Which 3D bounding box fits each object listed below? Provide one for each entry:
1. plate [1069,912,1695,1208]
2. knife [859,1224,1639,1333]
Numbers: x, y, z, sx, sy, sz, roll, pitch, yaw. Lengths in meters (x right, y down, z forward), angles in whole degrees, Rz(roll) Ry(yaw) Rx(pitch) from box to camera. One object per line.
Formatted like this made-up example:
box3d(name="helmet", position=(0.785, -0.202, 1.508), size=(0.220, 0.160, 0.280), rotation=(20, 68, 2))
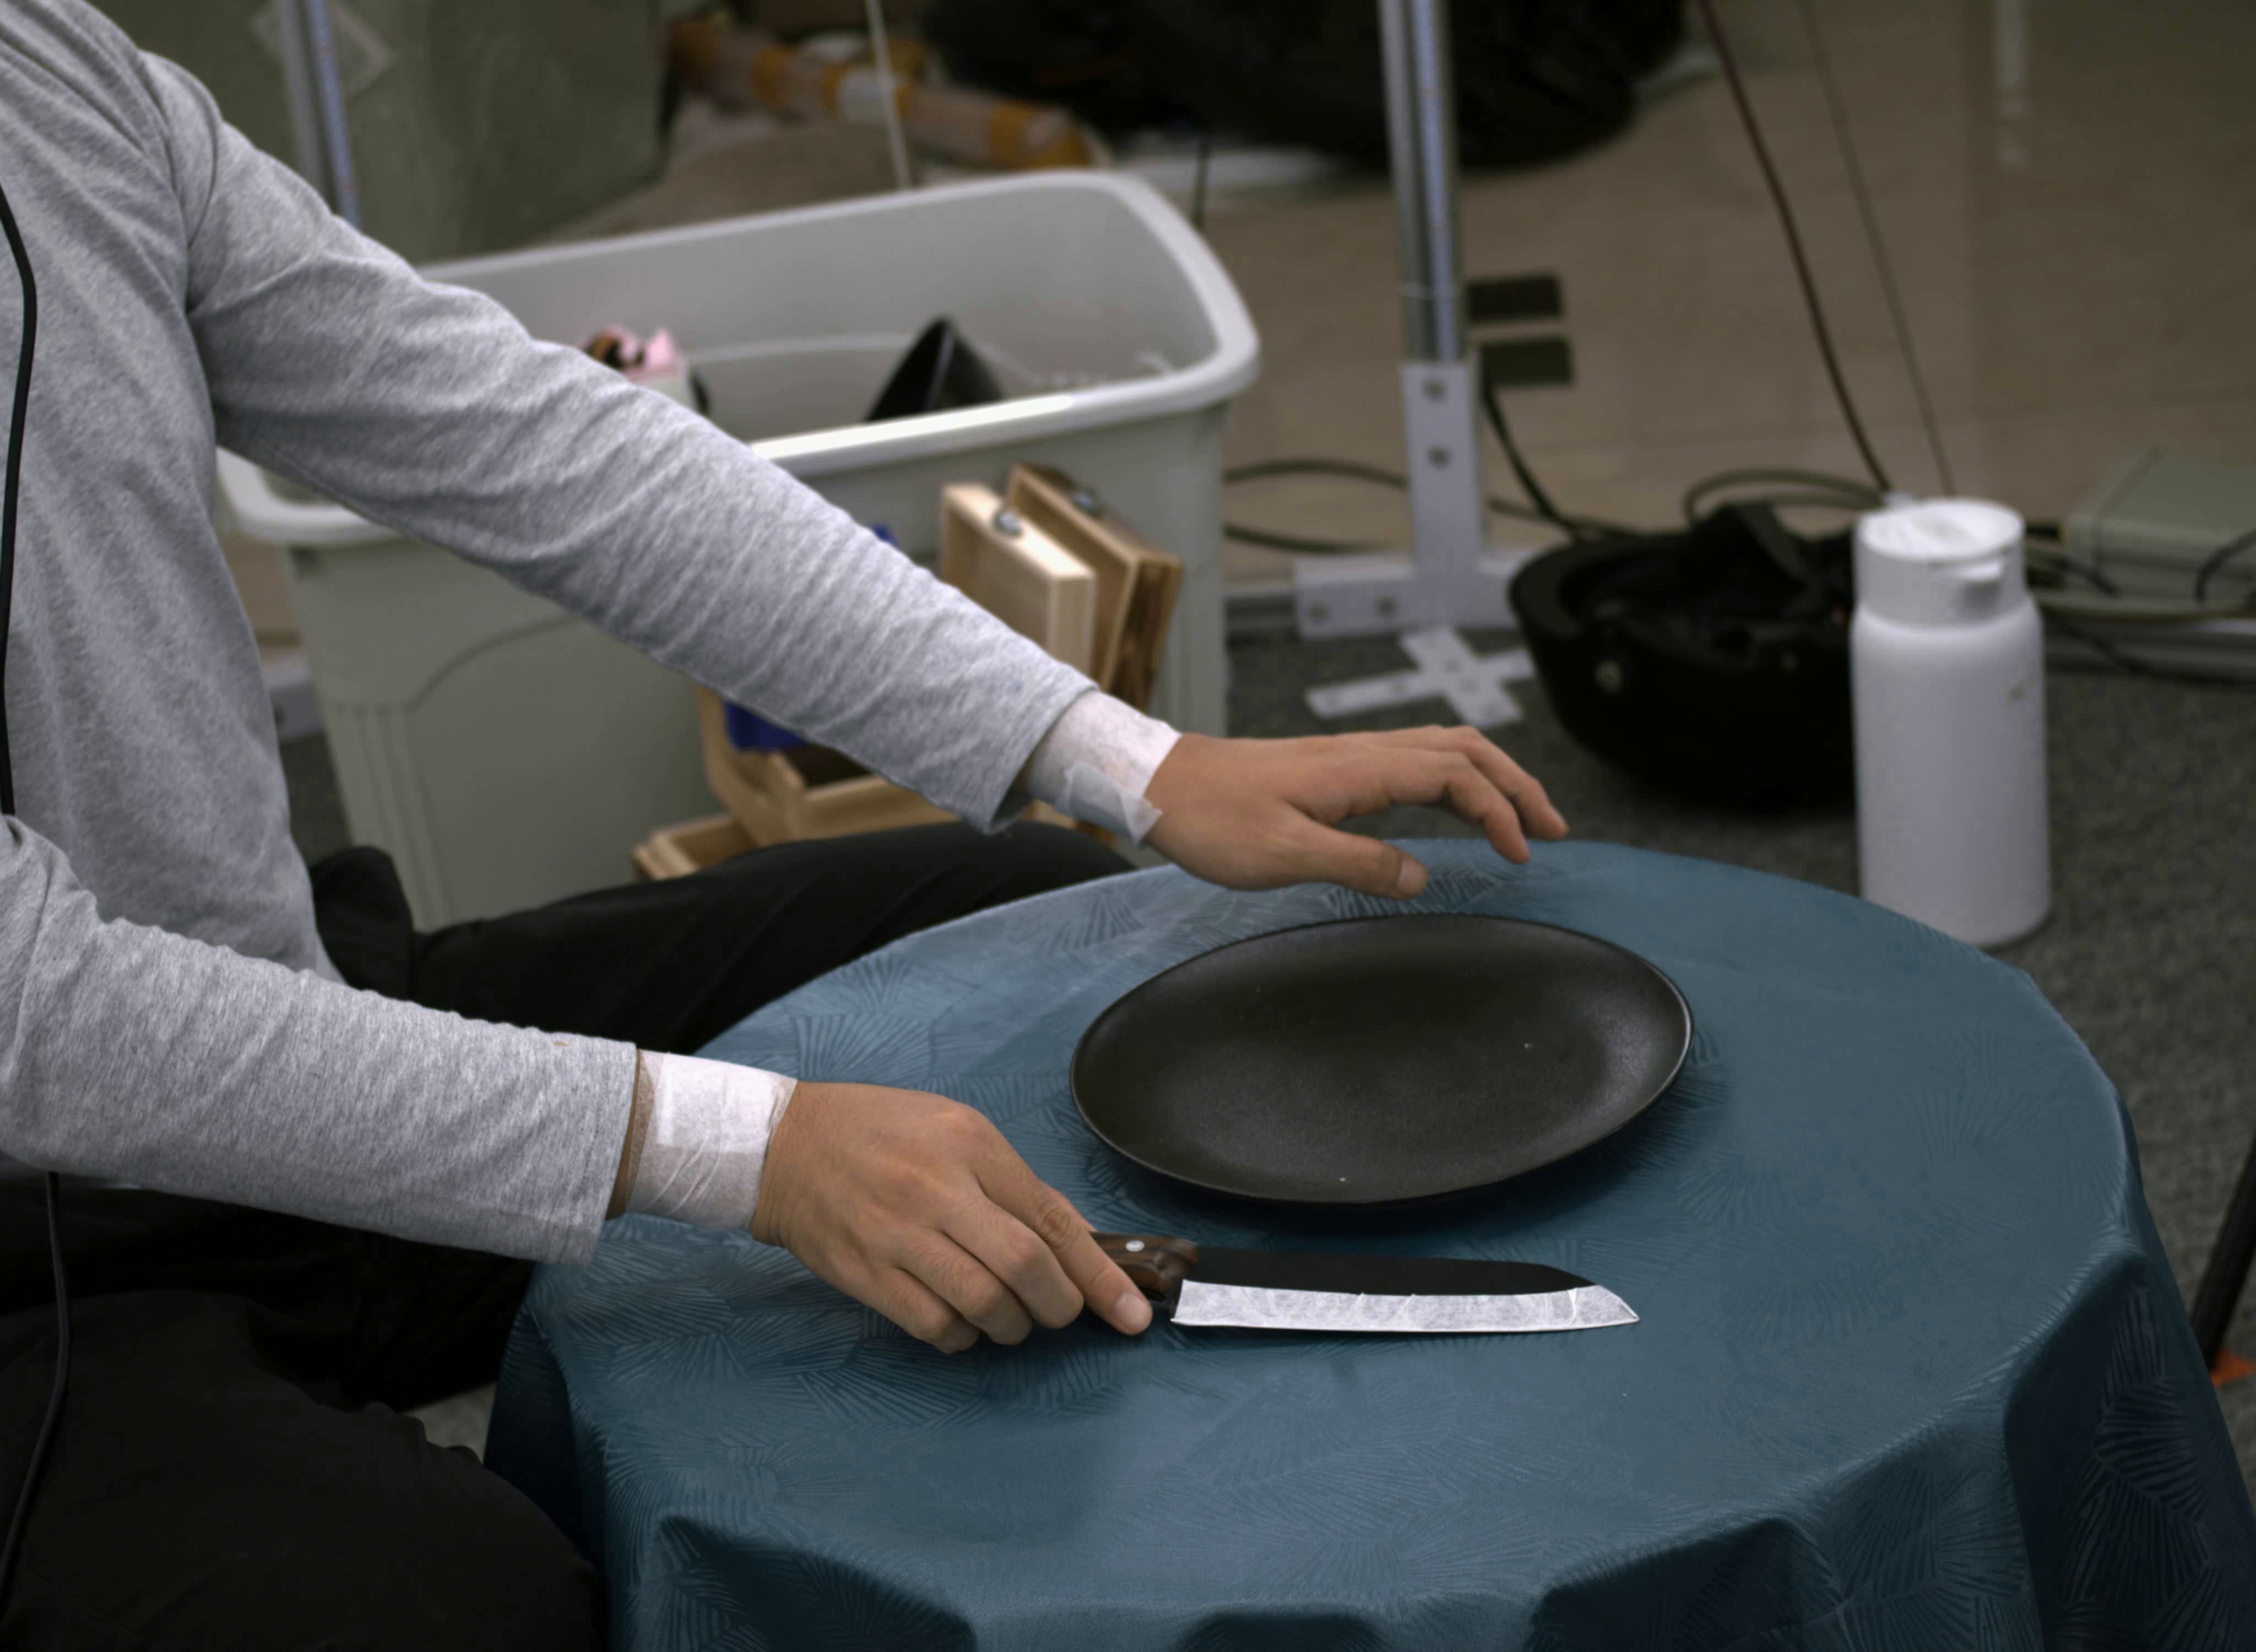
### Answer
box3d(name="plate", position=(0.098, 0.095, 2.194), size=(0.244, 0.024, 0.241), rotation=(-6, 25, 3))
box3d(name="knife", position=(0.041, 0.166, 2.056), size=(0.288, 0.020, 0.049), rotation=(3, 38, 11))
